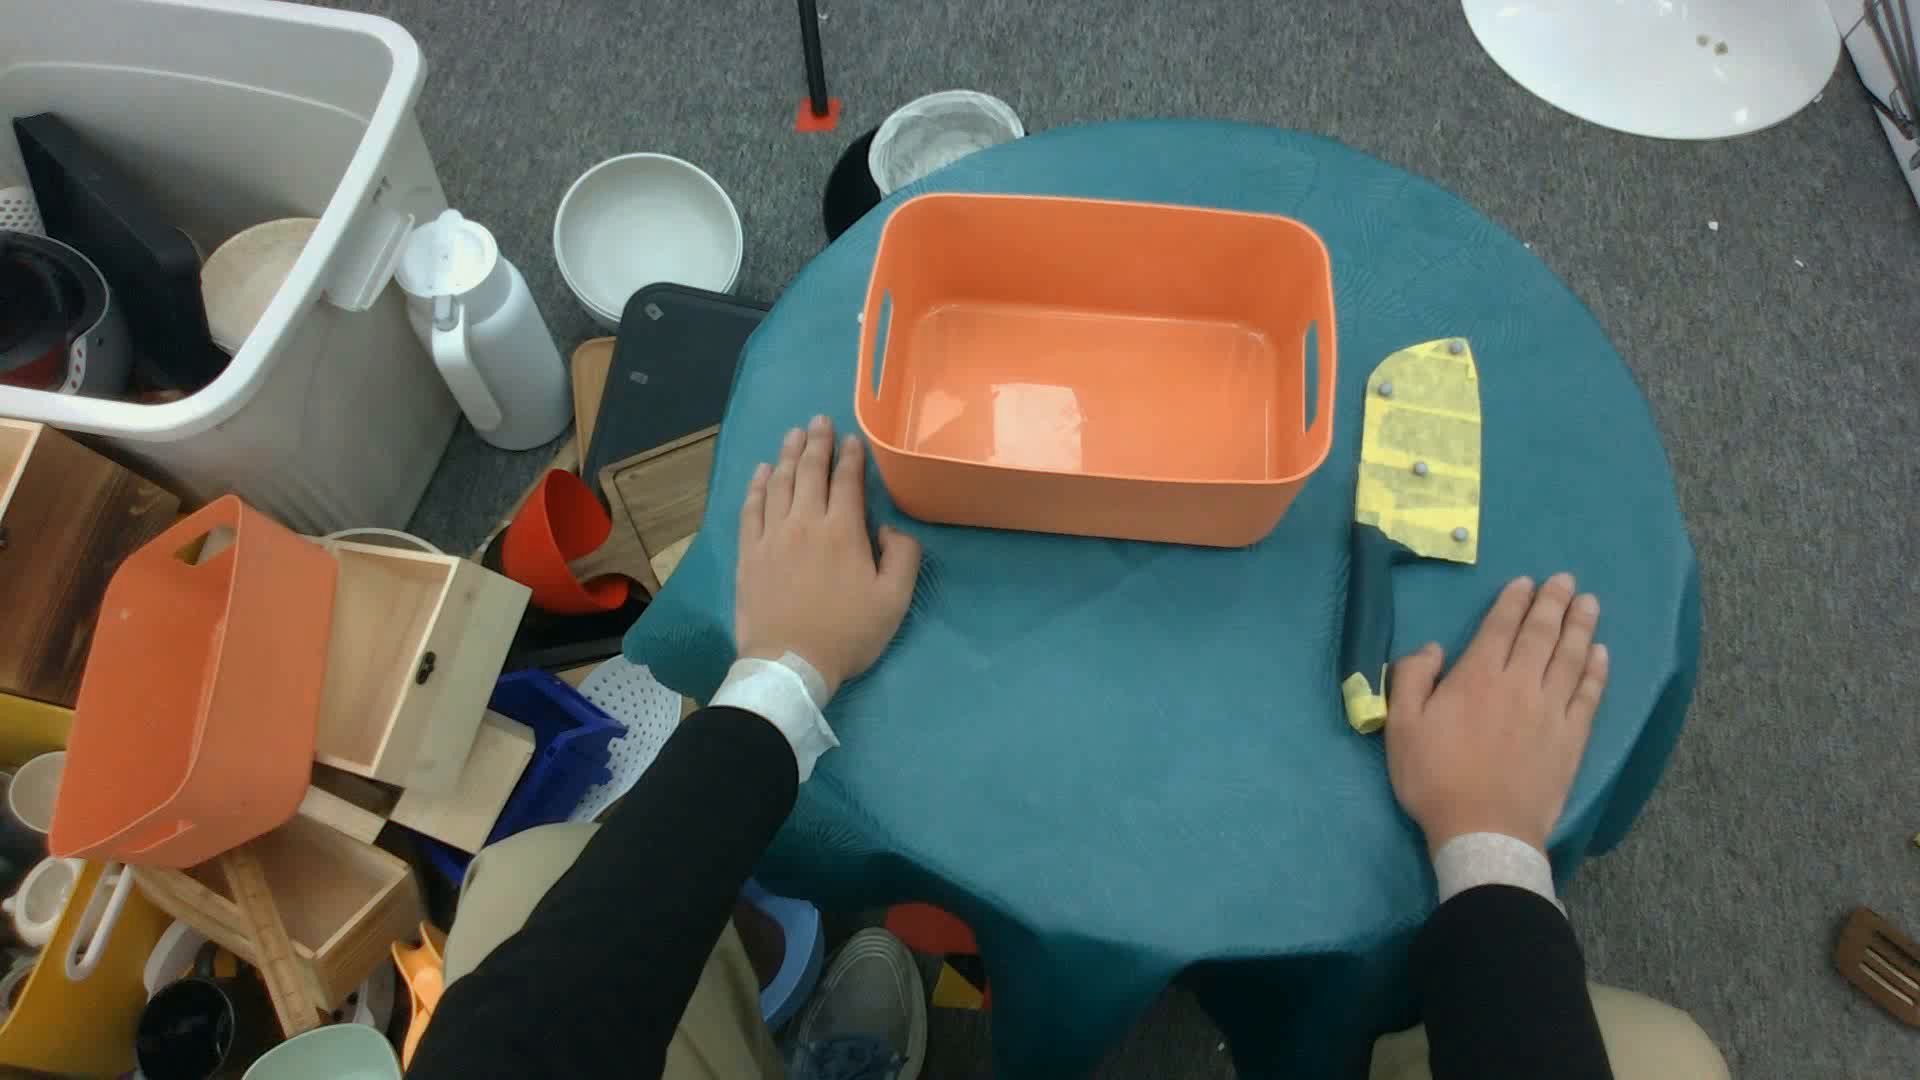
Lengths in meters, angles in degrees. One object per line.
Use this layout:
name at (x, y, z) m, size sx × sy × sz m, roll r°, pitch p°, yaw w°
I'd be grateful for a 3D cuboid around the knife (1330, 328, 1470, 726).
knife at (0.269, -0.017, 0.841) m, size 0.081 × 0.027 × 0.291 m, roll 13°, pitch 62°, yaw 10°

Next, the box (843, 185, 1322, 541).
box at (0.073, -0.102, 0.837) m, size 0.273 × 0.102 × 0.200 m, roll 5°, pitch 61°, yaw 3°
